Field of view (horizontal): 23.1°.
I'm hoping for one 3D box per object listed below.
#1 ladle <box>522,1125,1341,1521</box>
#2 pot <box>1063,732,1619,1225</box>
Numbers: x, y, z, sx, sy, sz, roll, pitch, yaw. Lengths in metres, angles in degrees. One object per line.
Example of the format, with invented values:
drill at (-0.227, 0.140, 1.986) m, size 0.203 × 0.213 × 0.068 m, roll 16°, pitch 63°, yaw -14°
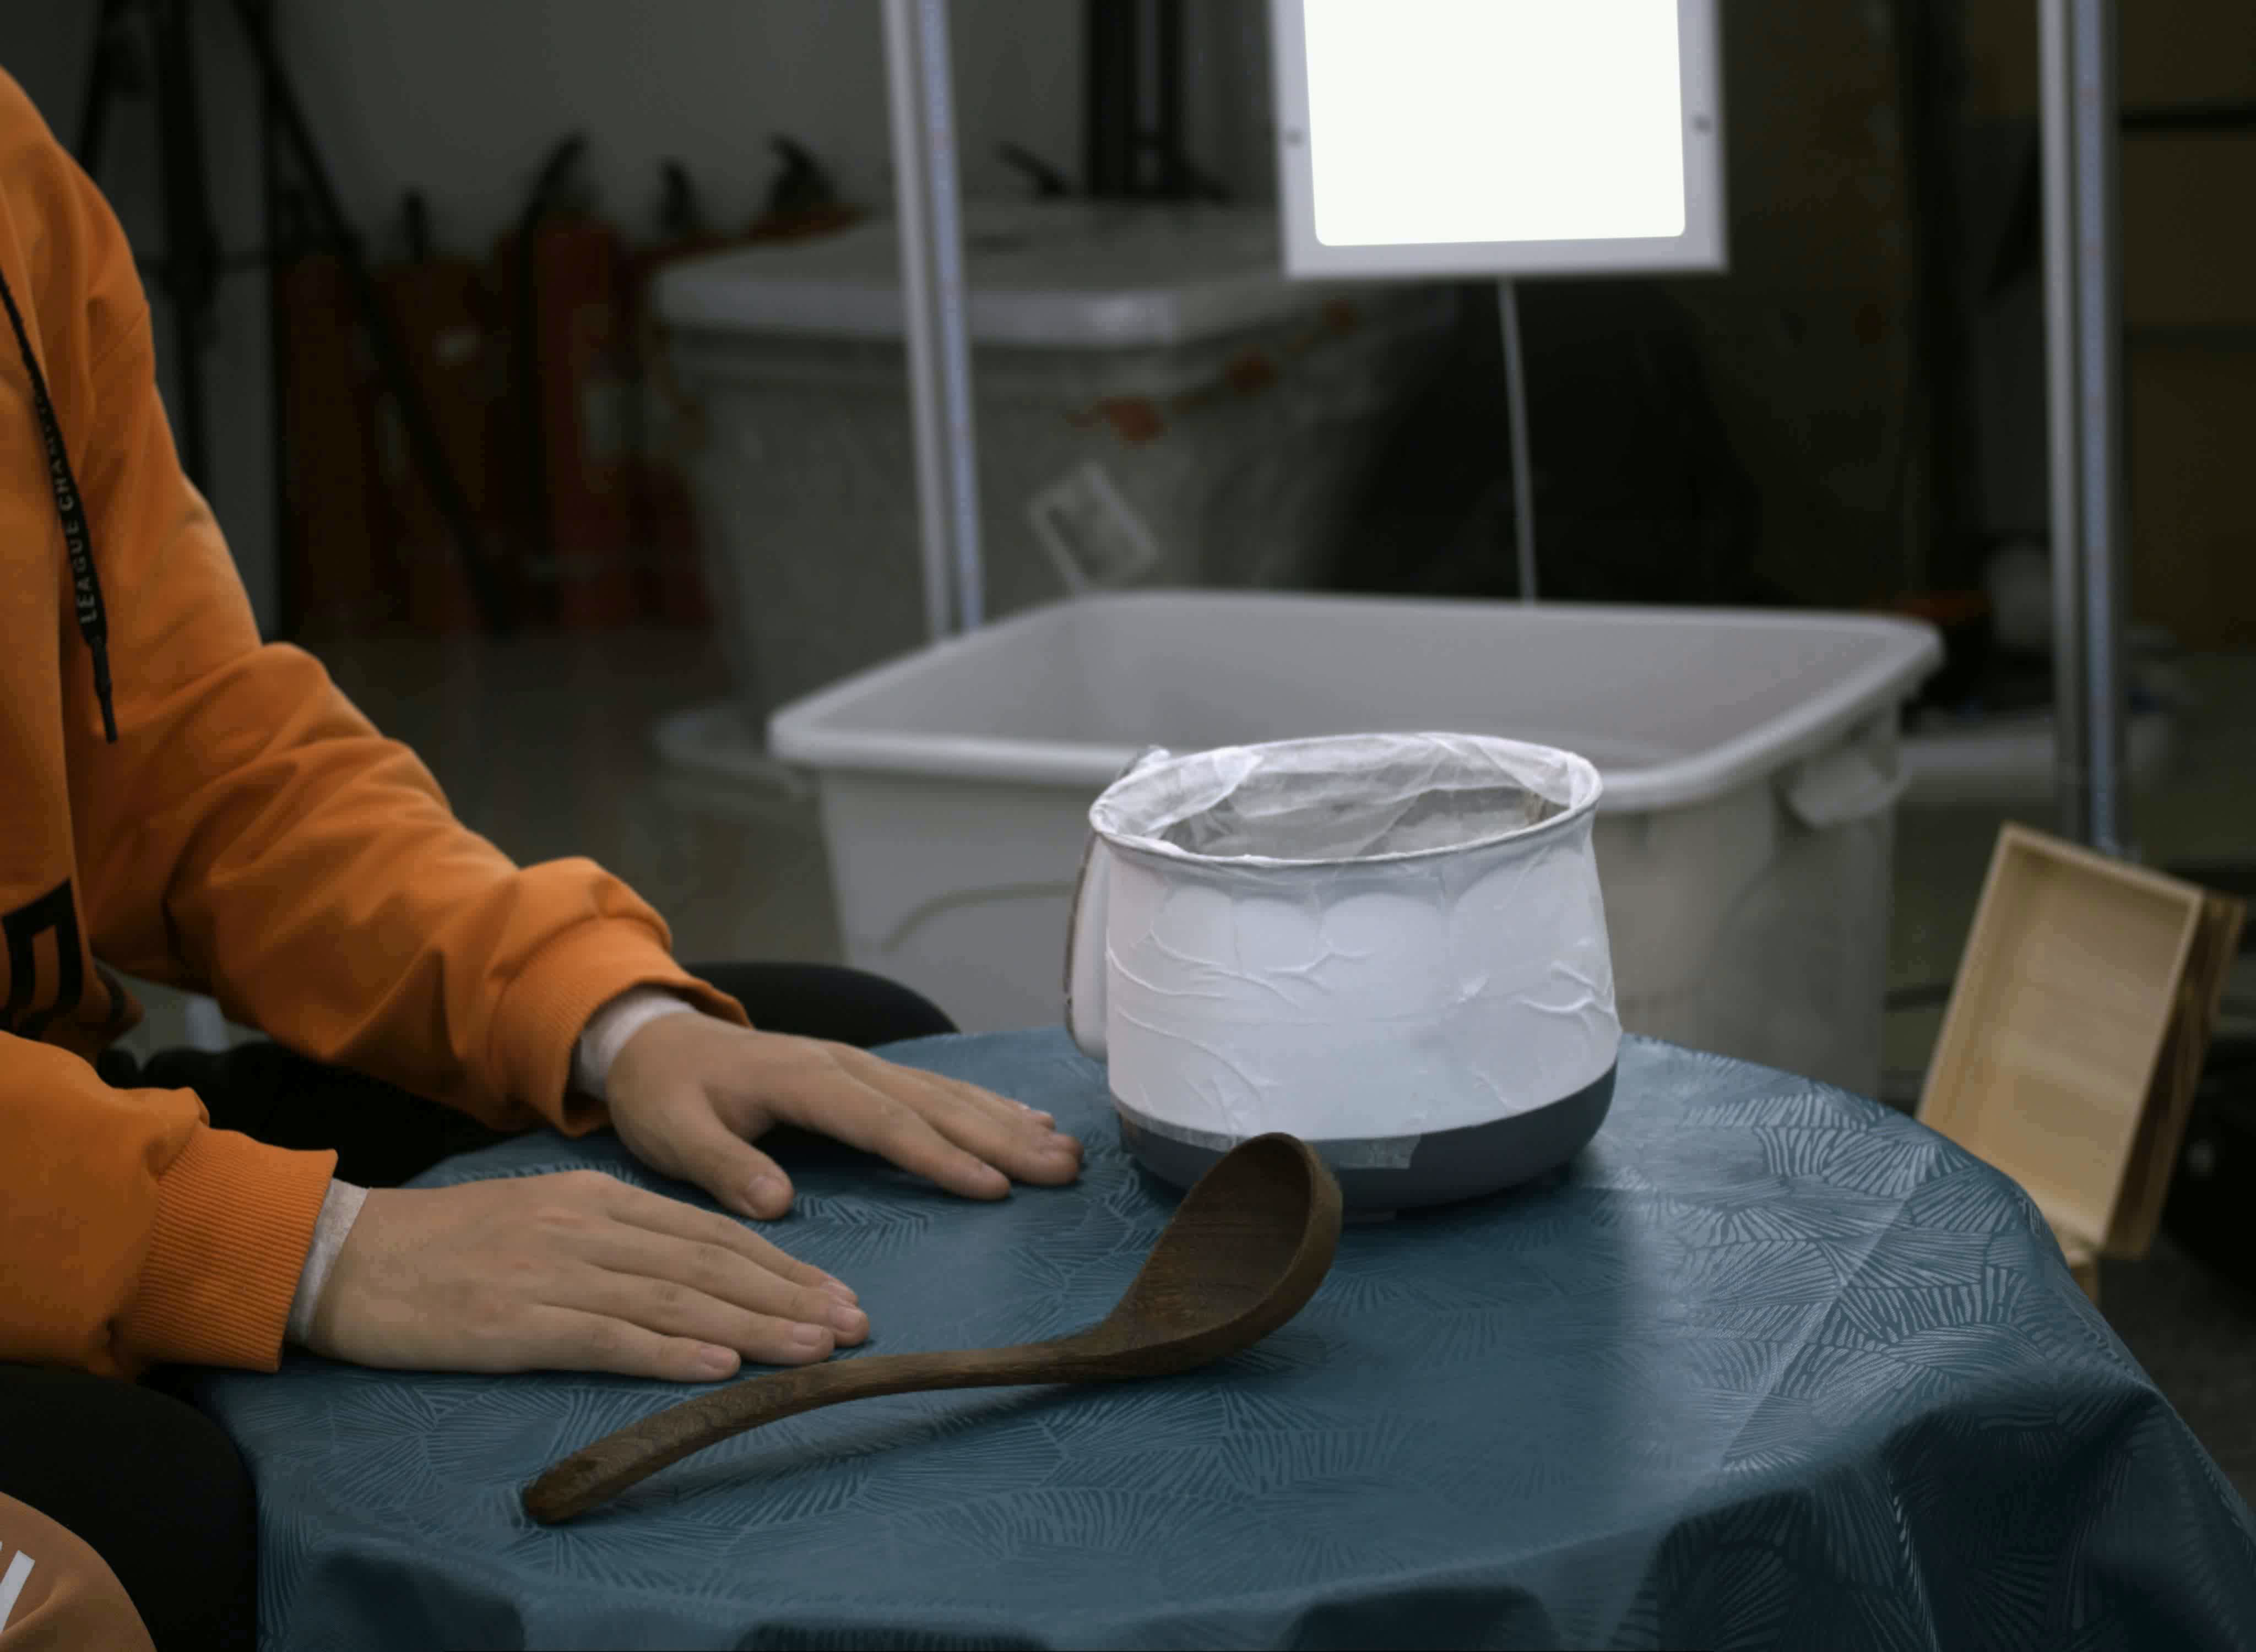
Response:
ladle at (-0.059, 0.149, 1.681) m, size 0.268 × 0.071 × 0.077 m, roll -10°, pitch 11°, yaw -23°
pot at (0.061, 0.047, 1.912) m, size 0.174 × 0.137 × 0.239 m, roll -16°, pitch 18°, yaw -39°
